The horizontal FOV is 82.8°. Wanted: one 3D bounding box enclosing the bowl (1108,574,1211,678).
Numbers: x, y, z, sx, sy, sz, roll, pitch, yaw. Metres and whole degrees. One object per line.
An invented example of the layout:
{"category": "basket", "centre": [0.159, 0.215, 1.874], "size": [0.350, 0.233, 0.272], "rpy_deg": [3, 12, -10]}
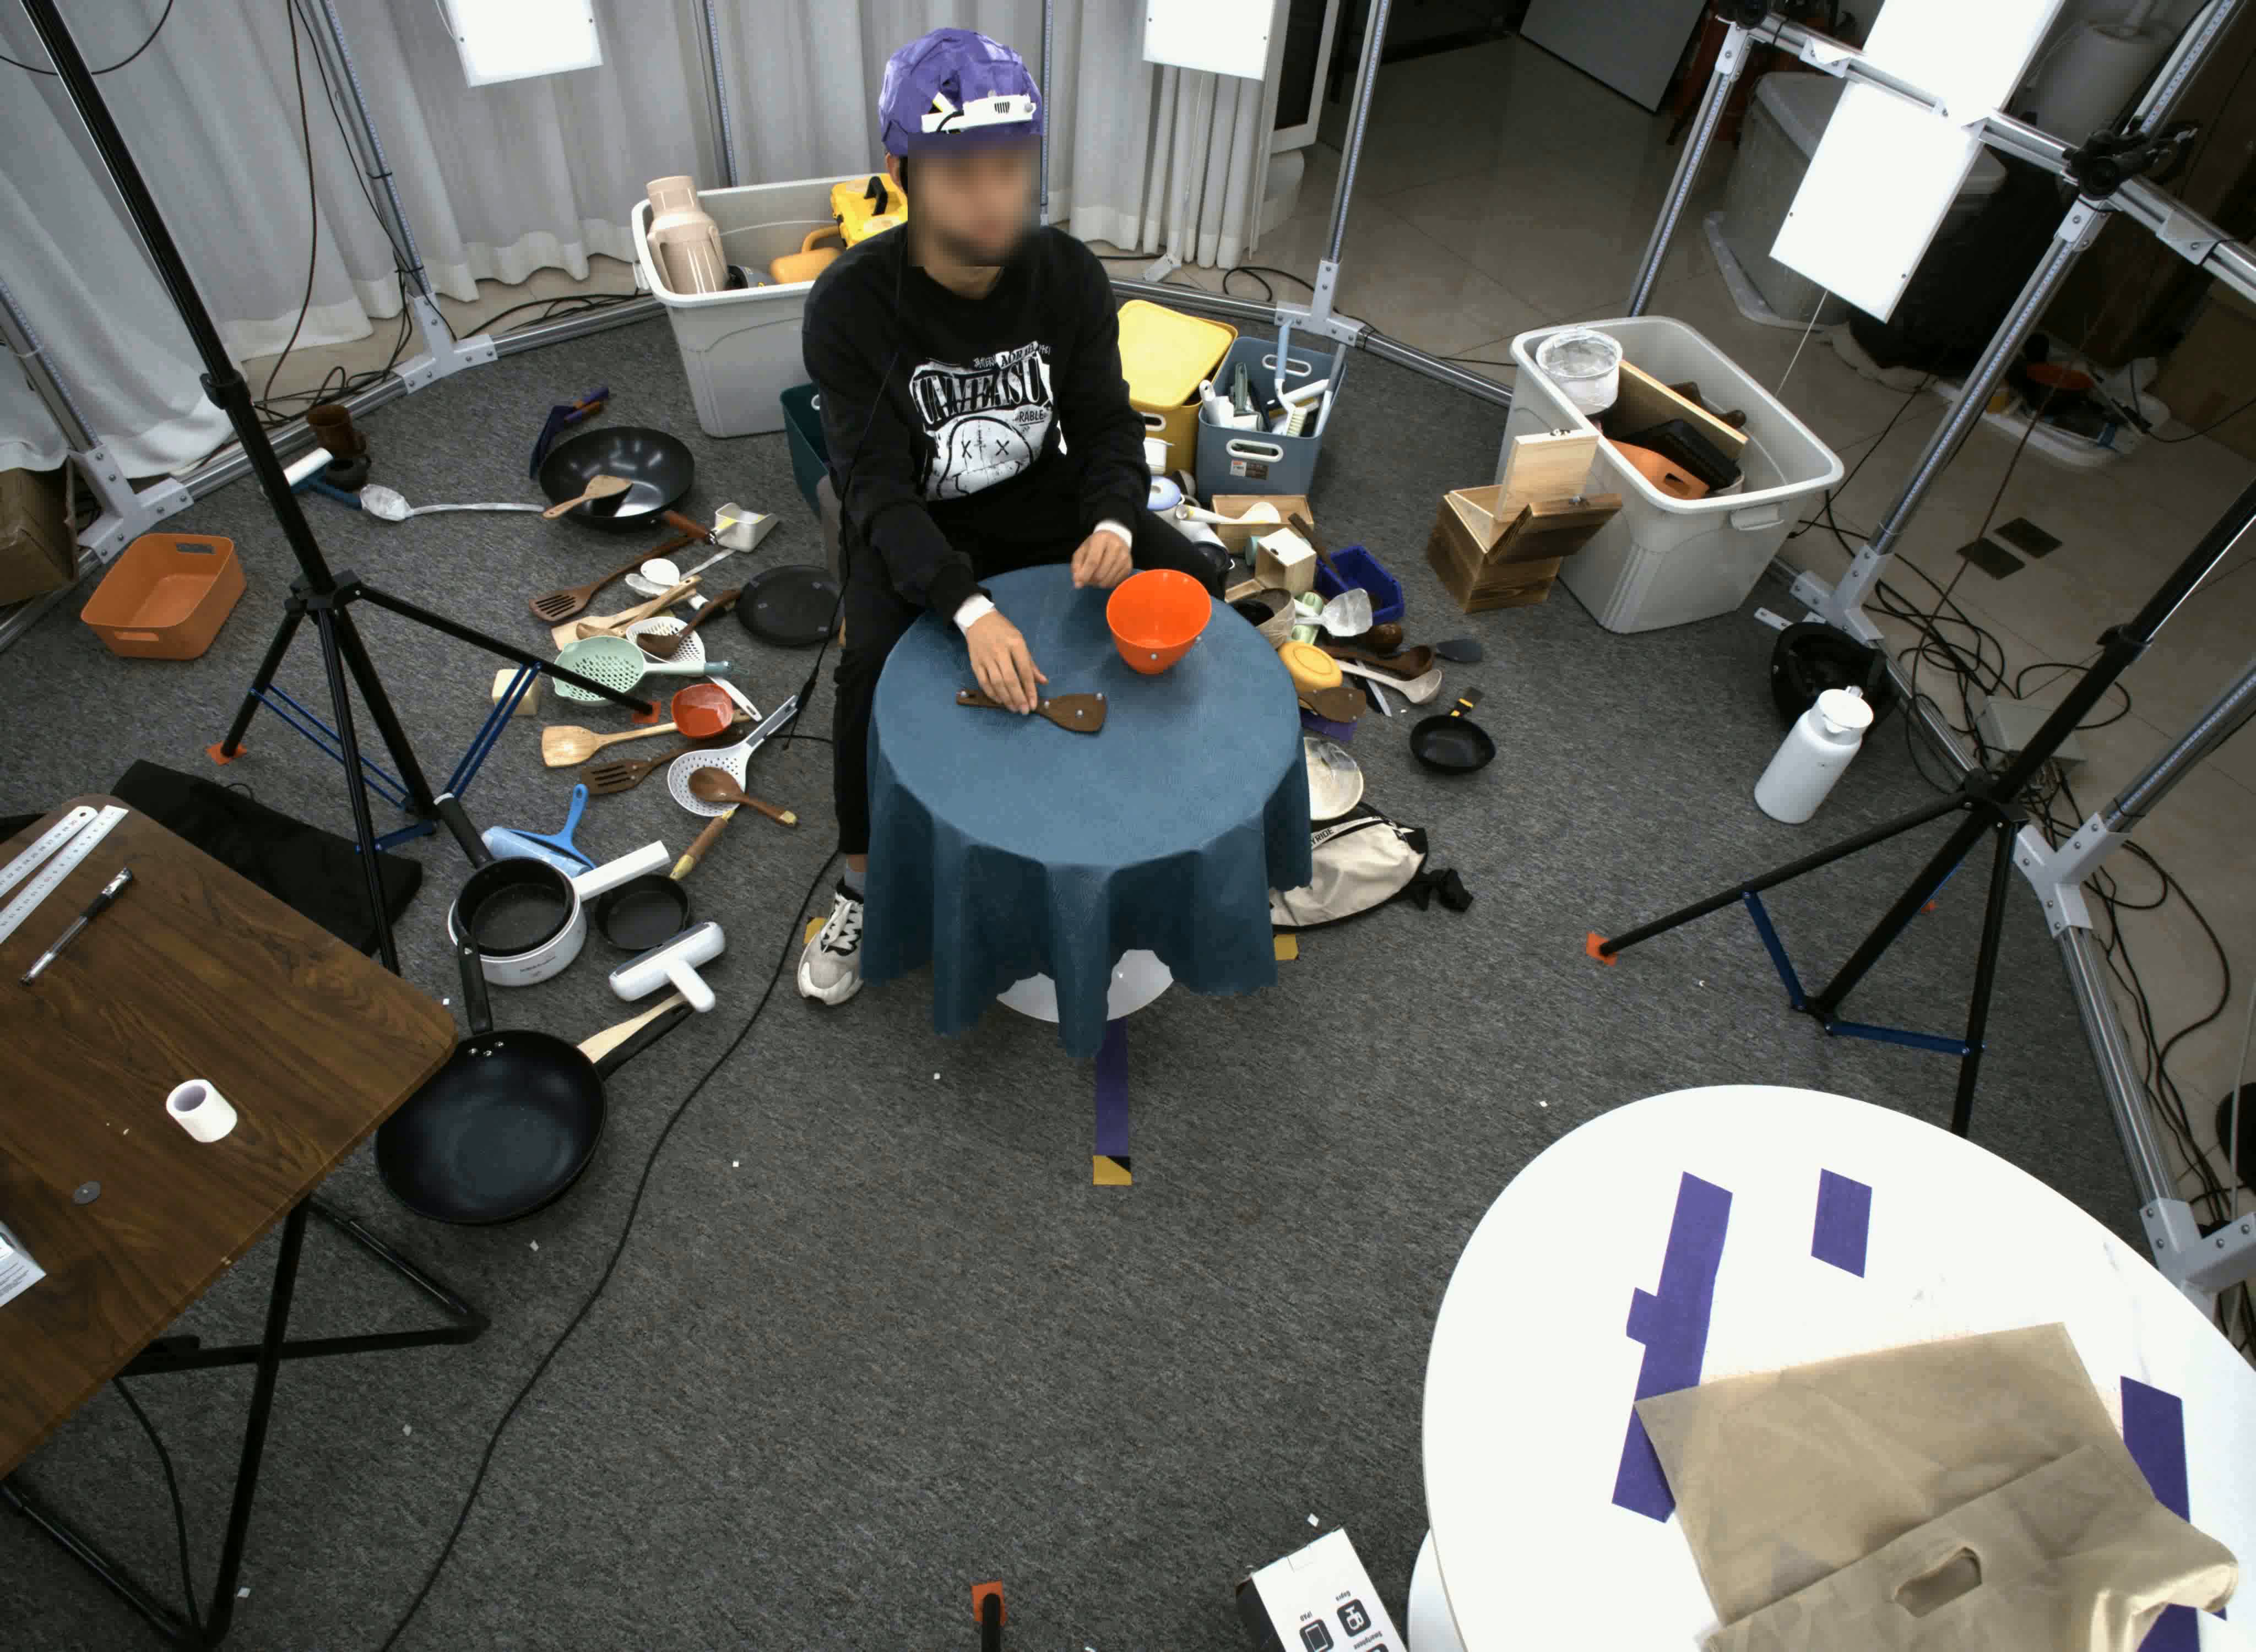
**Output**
{"category": "bowl", "centre": [0.043, -0.280, 1.867], "size": [0.148, 0.102, 0.152], "rpy_deg": [2, 49, -3]}

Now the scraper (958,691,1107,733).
{"category": "scraper", "centre": [-0.135, -0.169, 1.817], "size": [0.211, 0.010, 0.077], "rpy_deg": [8, 47, 4]}
